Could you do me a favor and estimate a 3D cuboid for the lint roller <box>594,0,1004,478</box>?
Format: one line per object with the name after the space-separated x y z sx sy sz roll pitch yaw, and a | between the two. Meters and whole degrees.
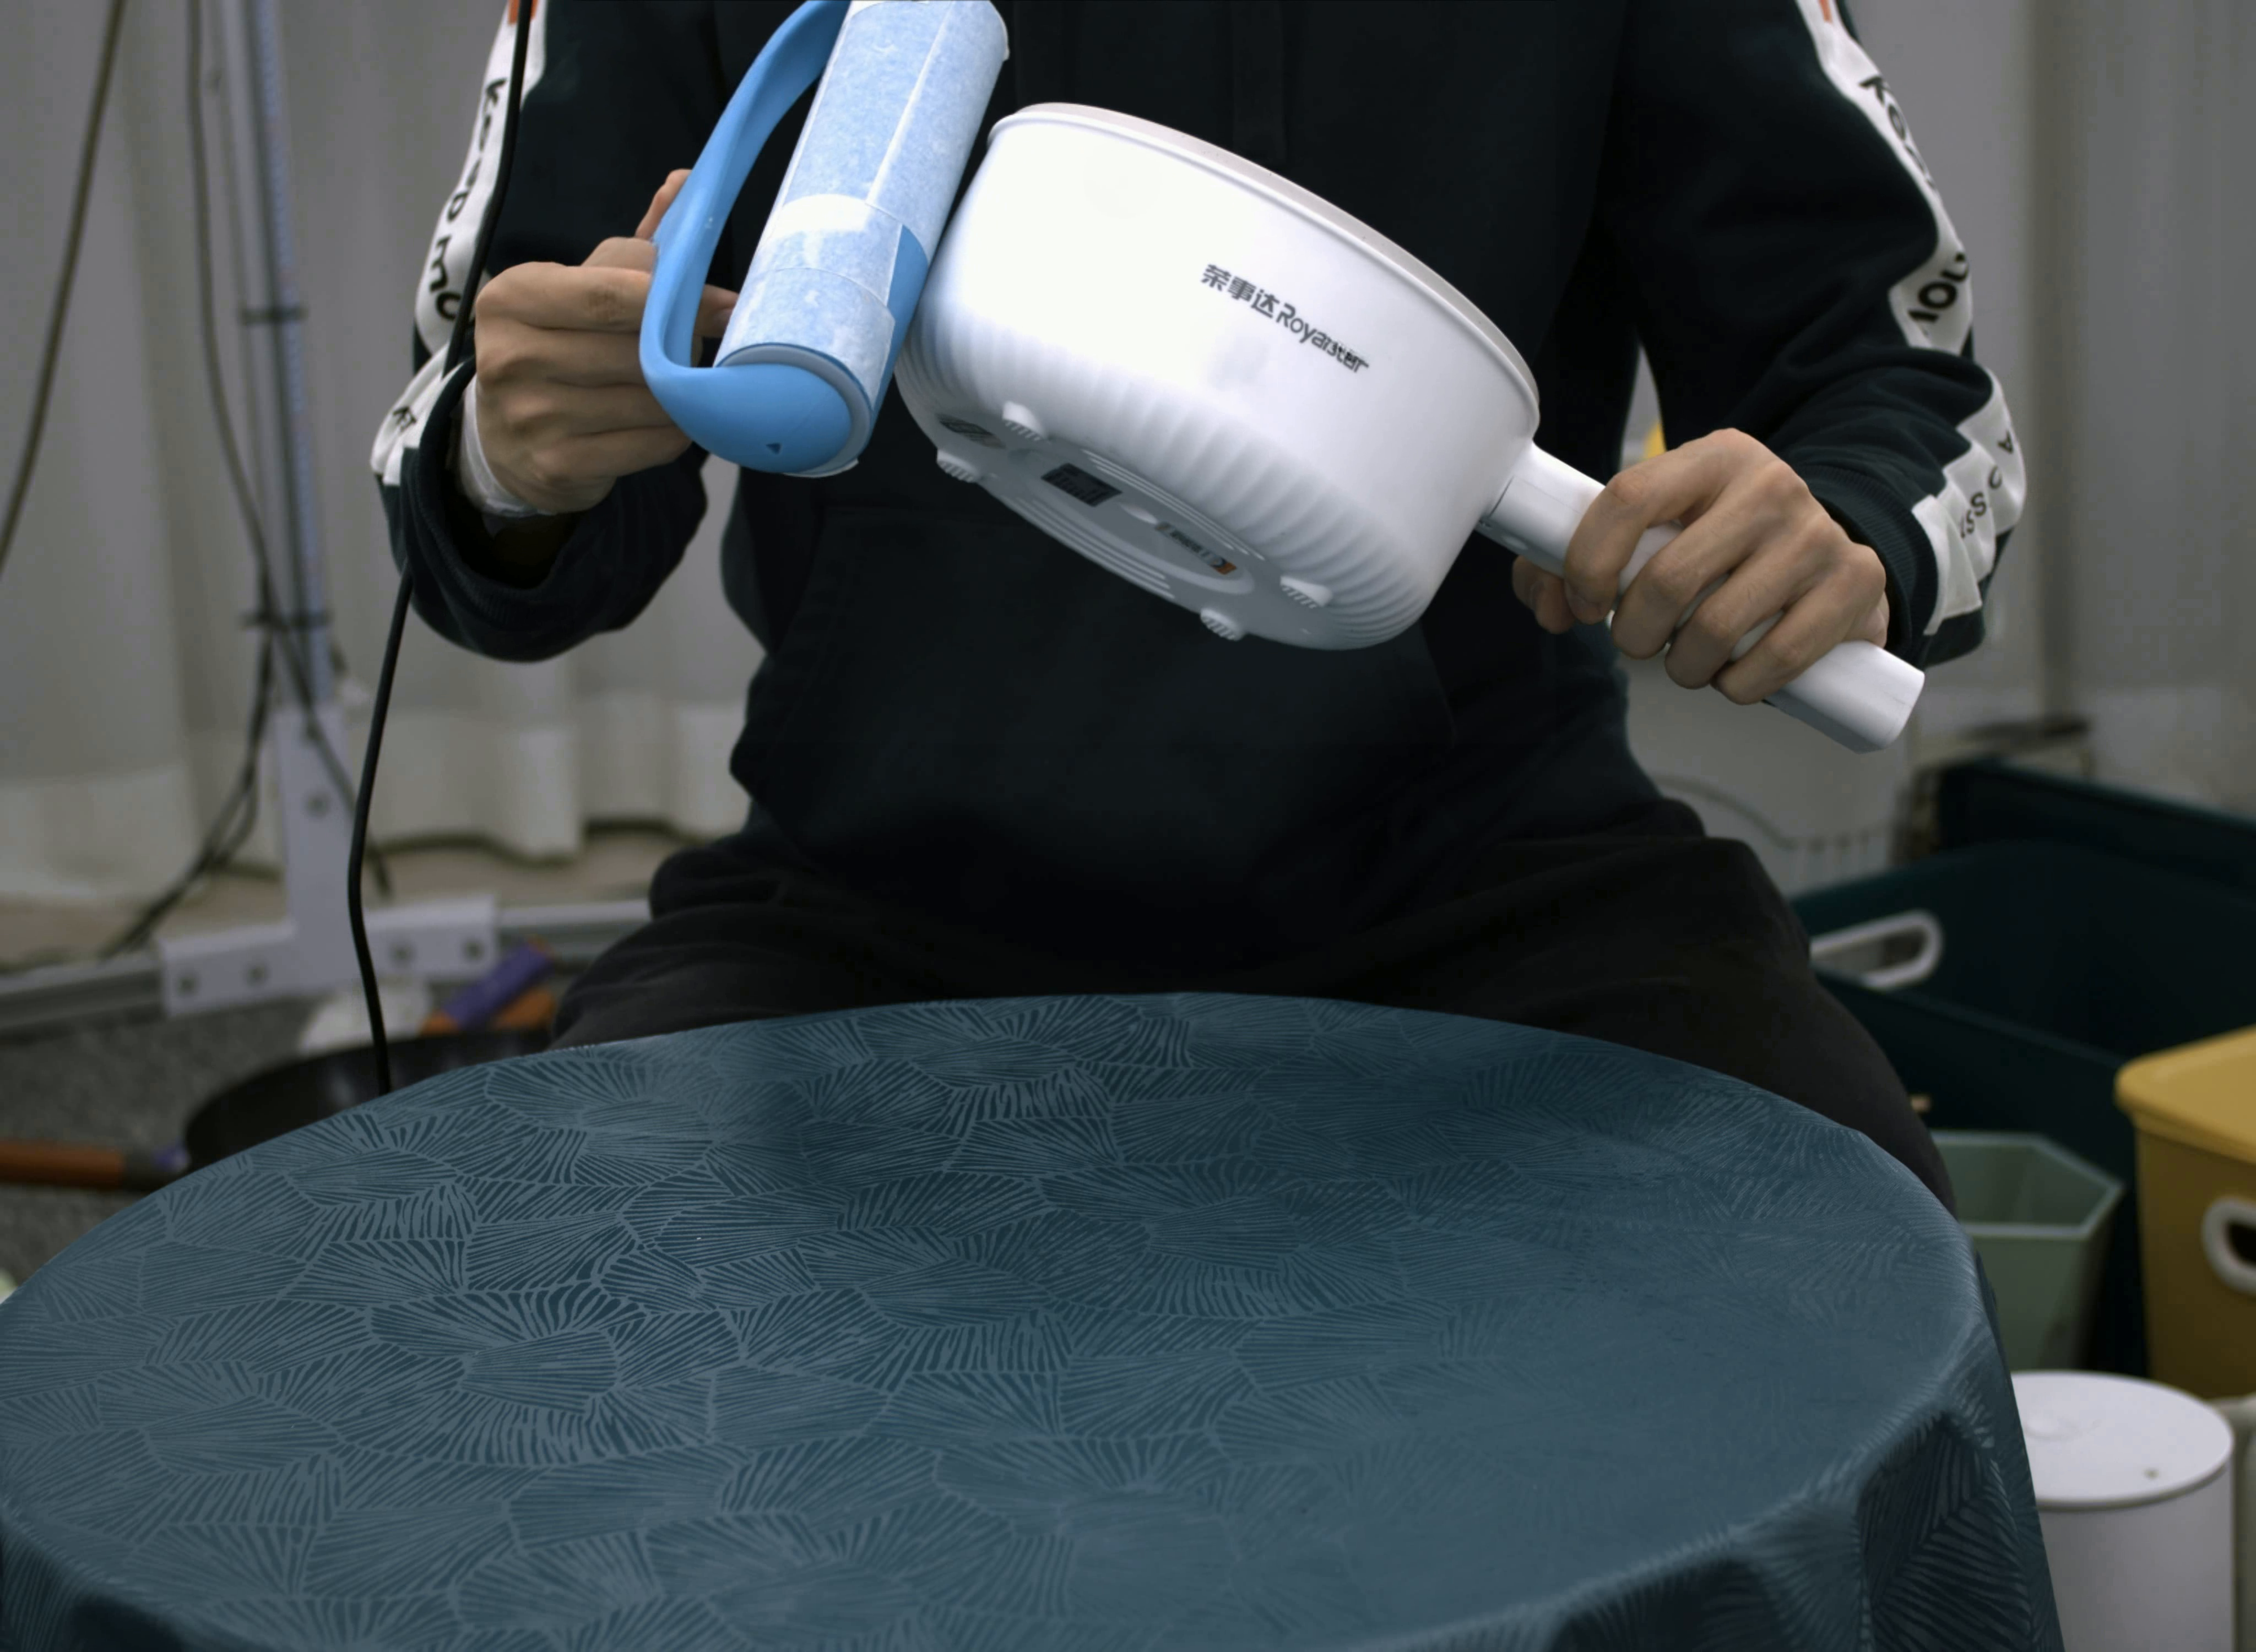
-0.127 -0.172 1.774 0.179 0.067 0.232 -30 32 33 | lint roller

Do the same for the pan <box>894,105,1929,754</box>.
0.087 -0.097 1.773 0.353 0.102 0.201 31 -11 -8 | pan
